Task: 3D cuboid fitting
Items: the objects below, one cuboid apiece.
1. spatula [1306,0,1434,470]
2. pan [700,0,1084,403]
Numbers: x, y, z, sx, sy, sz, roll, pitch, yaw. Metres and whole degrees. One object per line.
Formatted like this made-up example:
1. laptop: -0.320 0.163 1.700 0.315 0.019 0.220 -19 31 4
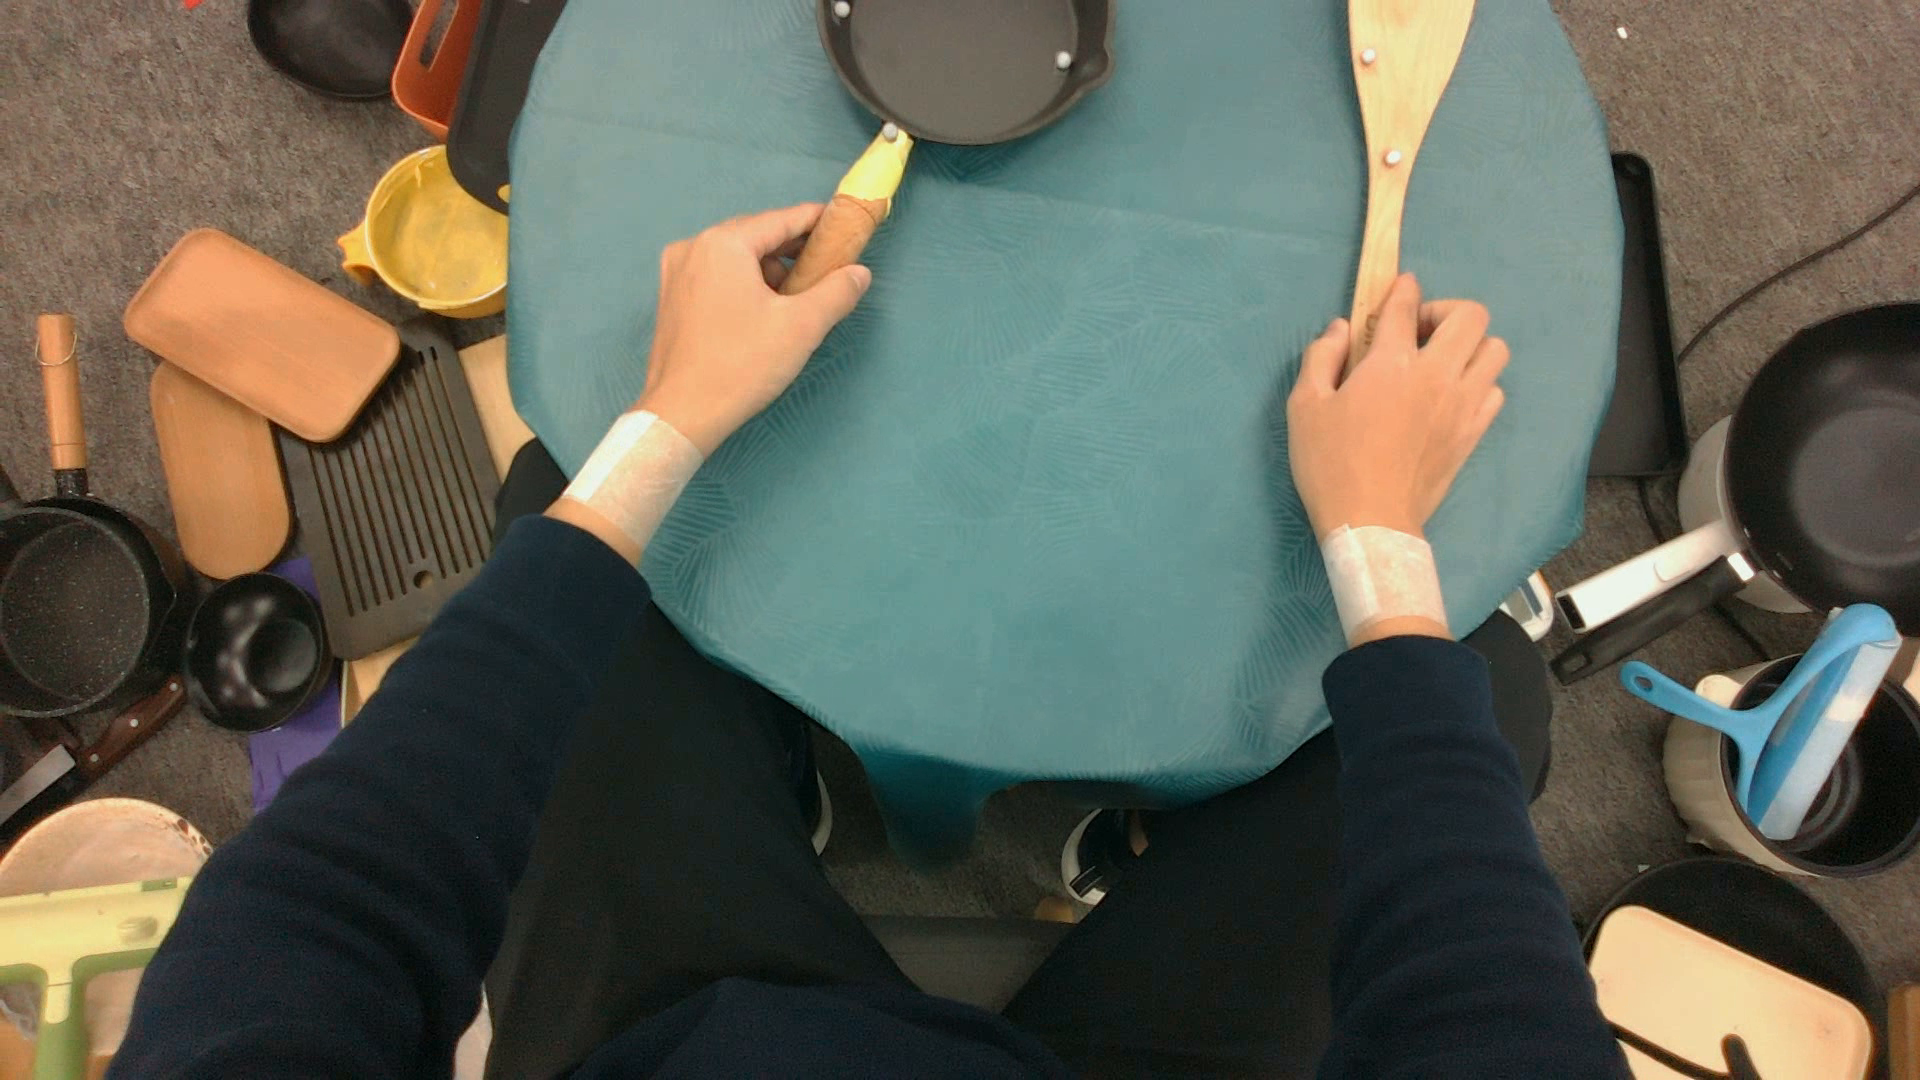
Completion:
1. spatula: 0.214 -0.197 0.740 0.080 0.016 0.328 8 79 -8
2. pan: -0.051 -0.211 0.716 0.169 0.049 0.325 27 78 2
